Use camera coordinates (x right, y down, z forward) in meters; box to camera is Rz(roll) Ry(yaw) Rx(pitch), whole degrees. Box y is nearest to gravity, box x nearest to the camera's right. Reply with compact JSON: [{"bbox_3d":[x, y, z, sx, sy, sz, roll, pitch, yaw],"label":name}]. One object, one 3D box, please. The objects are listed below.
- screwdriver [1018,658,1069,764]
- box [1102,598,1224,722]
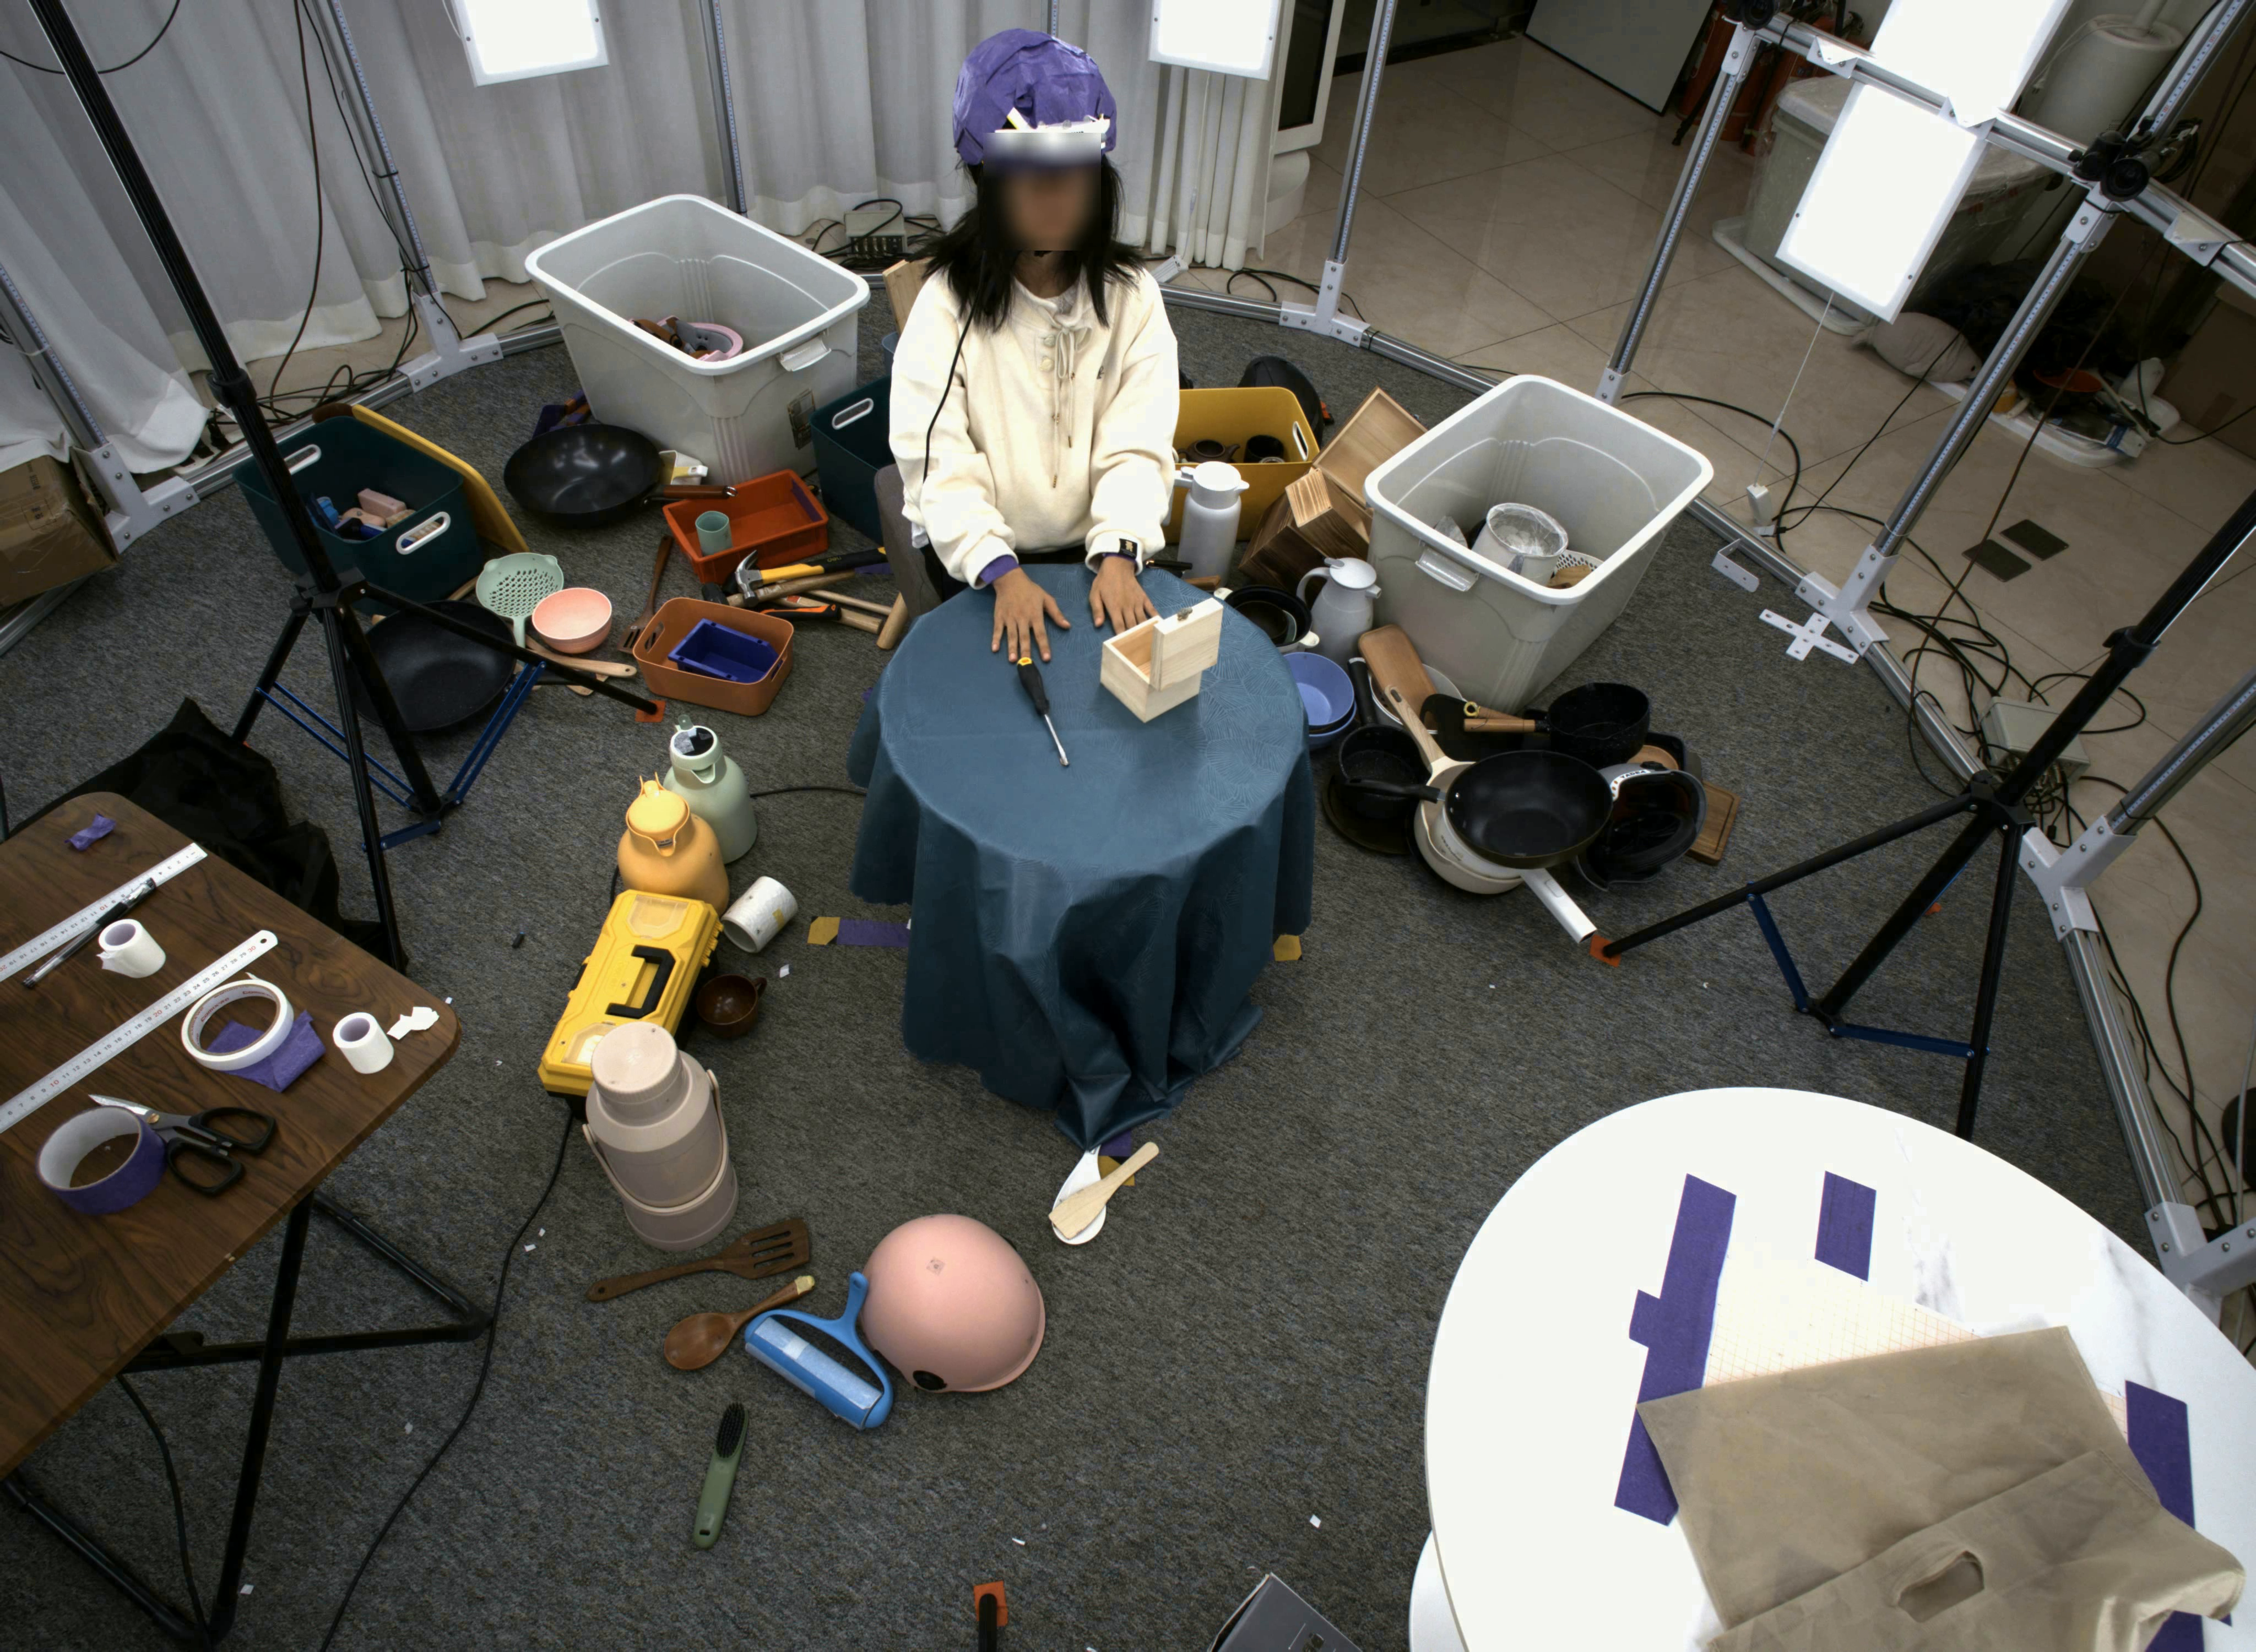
[{"bbox_3d":[-0.119,-0.160,1.786,0.031,0.031,0.202,-10,53,-13],"label":"screwdriver"},{"bbox_3d":[0.044,-0.251,1.772,0.103,0.180,0.136,-30,58,-27],"label":"box"}]
